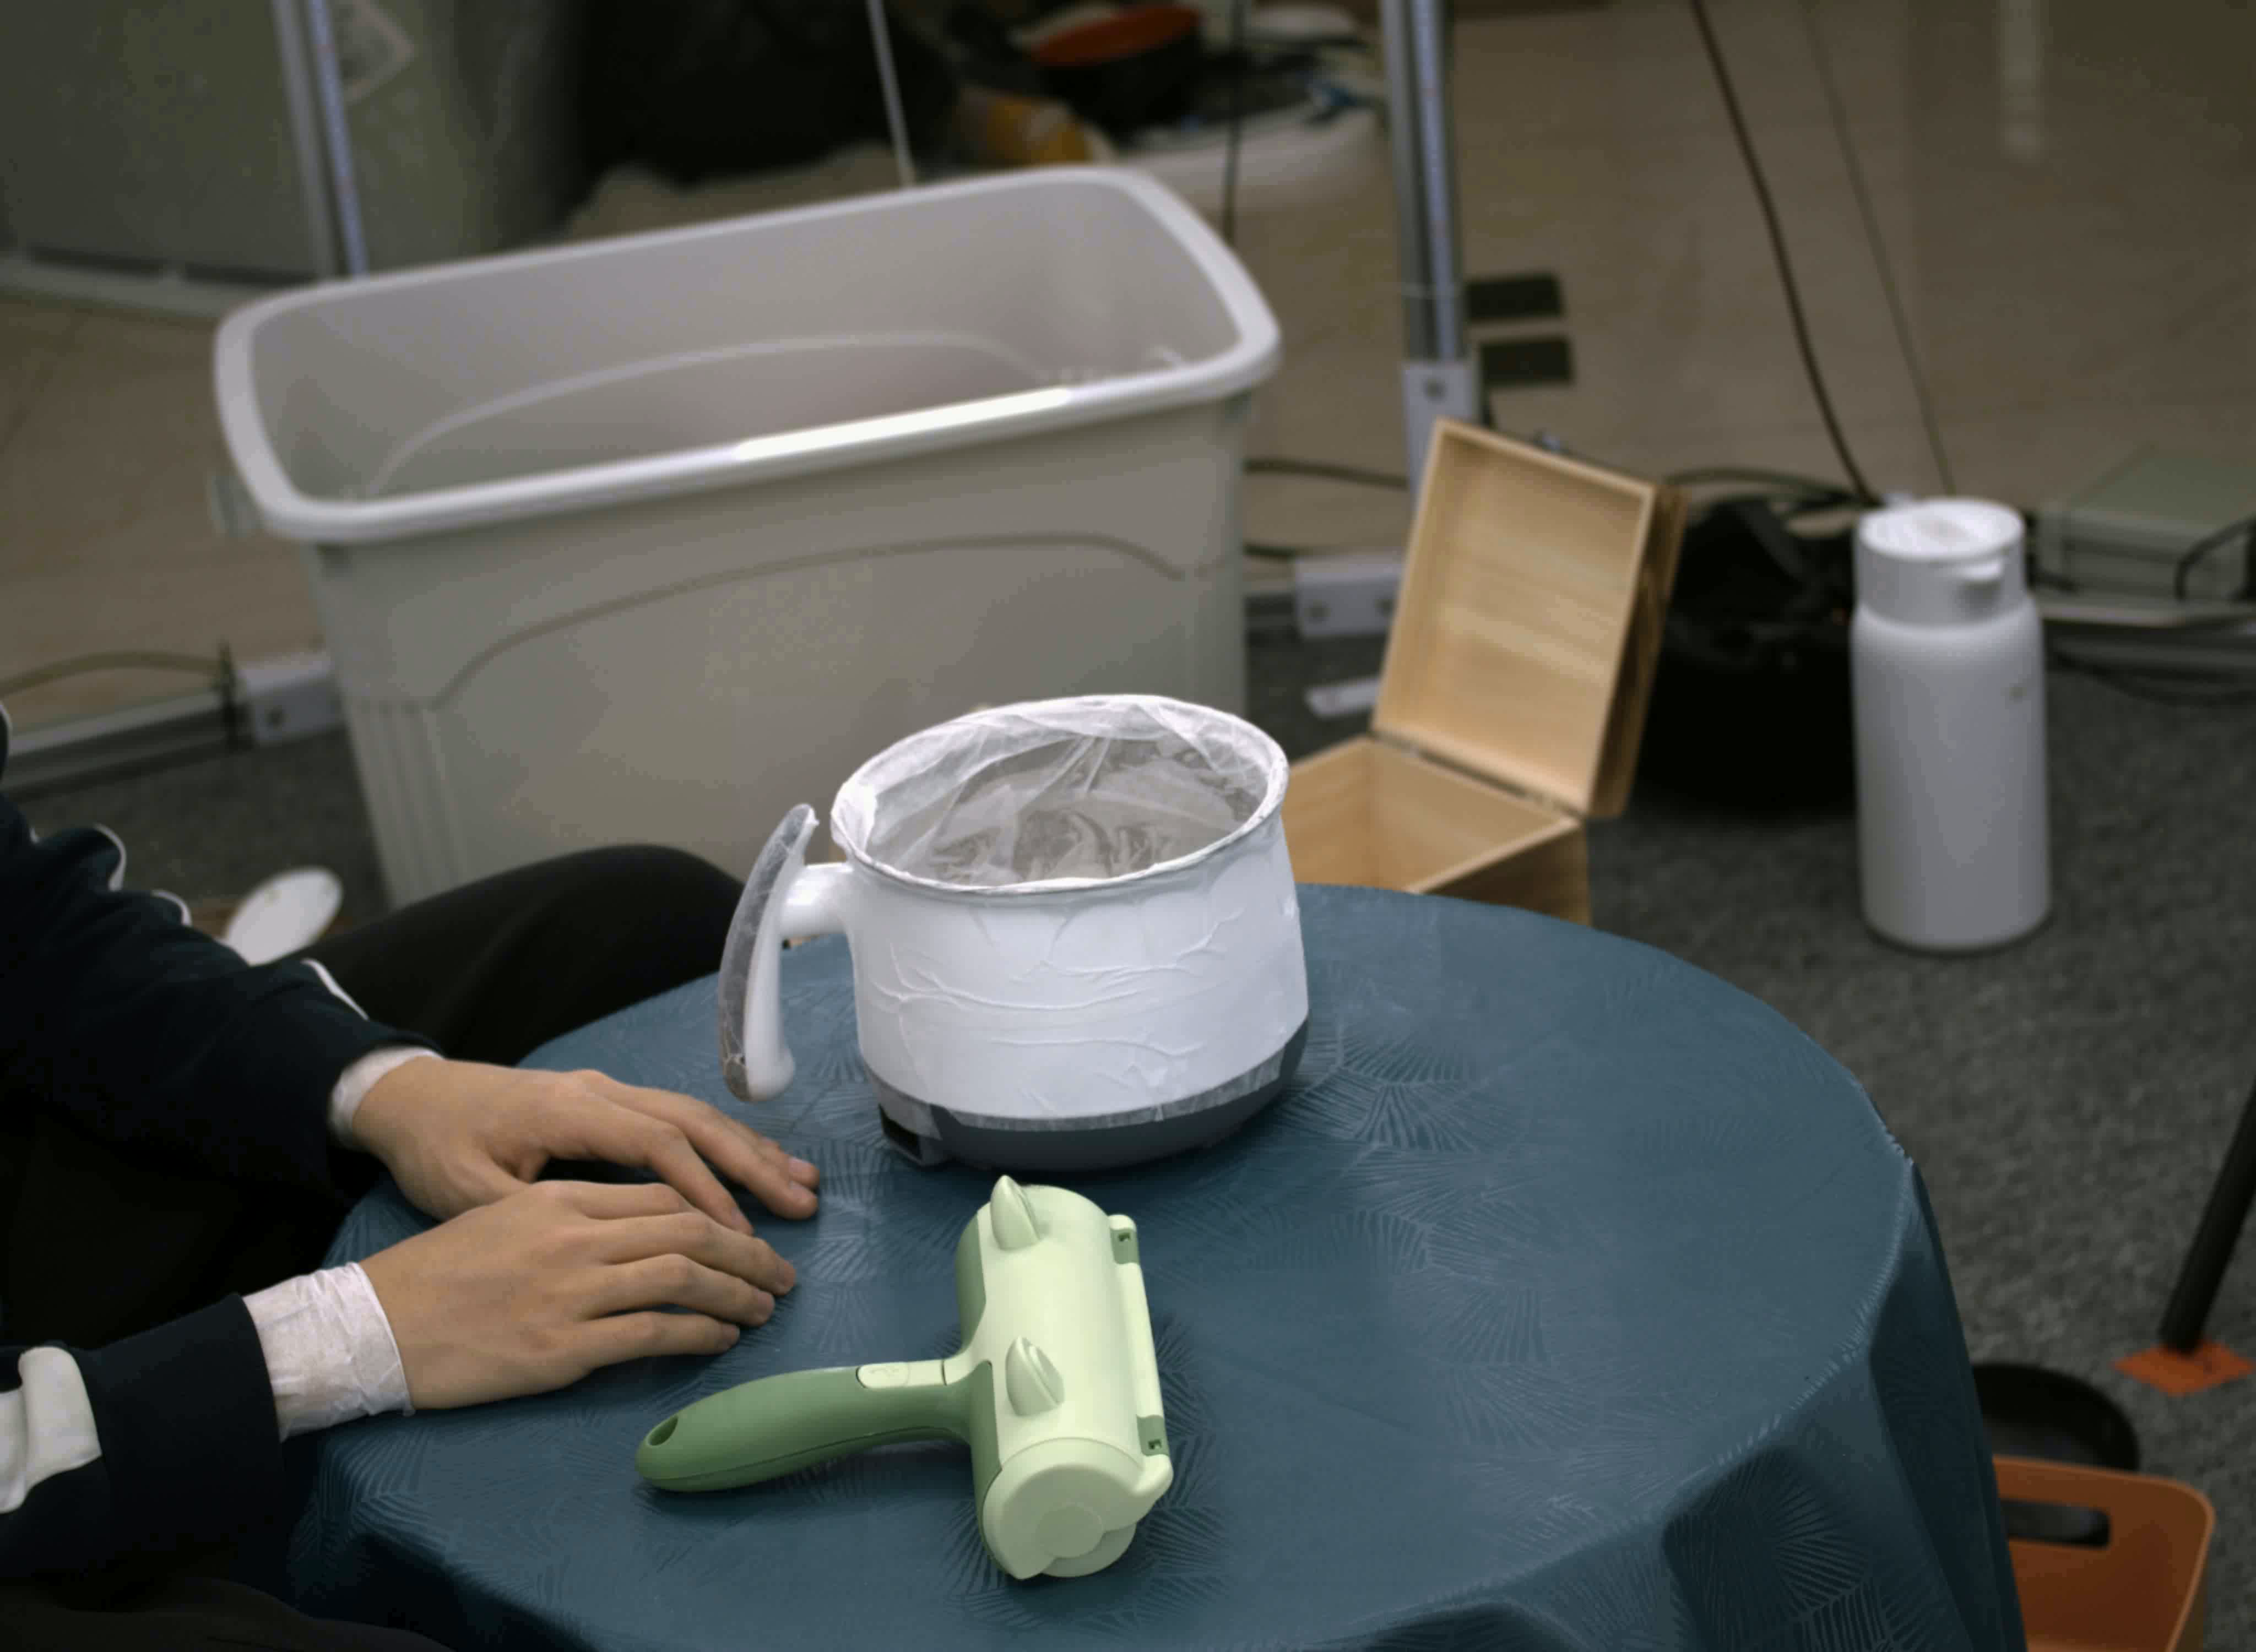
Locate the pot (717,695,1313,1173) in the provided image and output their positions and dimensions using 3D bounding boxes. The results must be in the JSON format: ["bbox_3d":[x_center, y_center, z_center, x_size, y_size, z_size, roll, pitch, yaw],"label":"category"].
[{"bbox_3d":[-0.047,0.046,2.190,0.233,0.139,0.176,-6,25,1],"label":"pot"}]

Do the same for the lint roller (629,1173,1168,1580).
[{"bbox_3d":[-0.083,0.187,1.971,0.183,0.083,0.195,-2,25,-3],"label":"lint roller"}]
